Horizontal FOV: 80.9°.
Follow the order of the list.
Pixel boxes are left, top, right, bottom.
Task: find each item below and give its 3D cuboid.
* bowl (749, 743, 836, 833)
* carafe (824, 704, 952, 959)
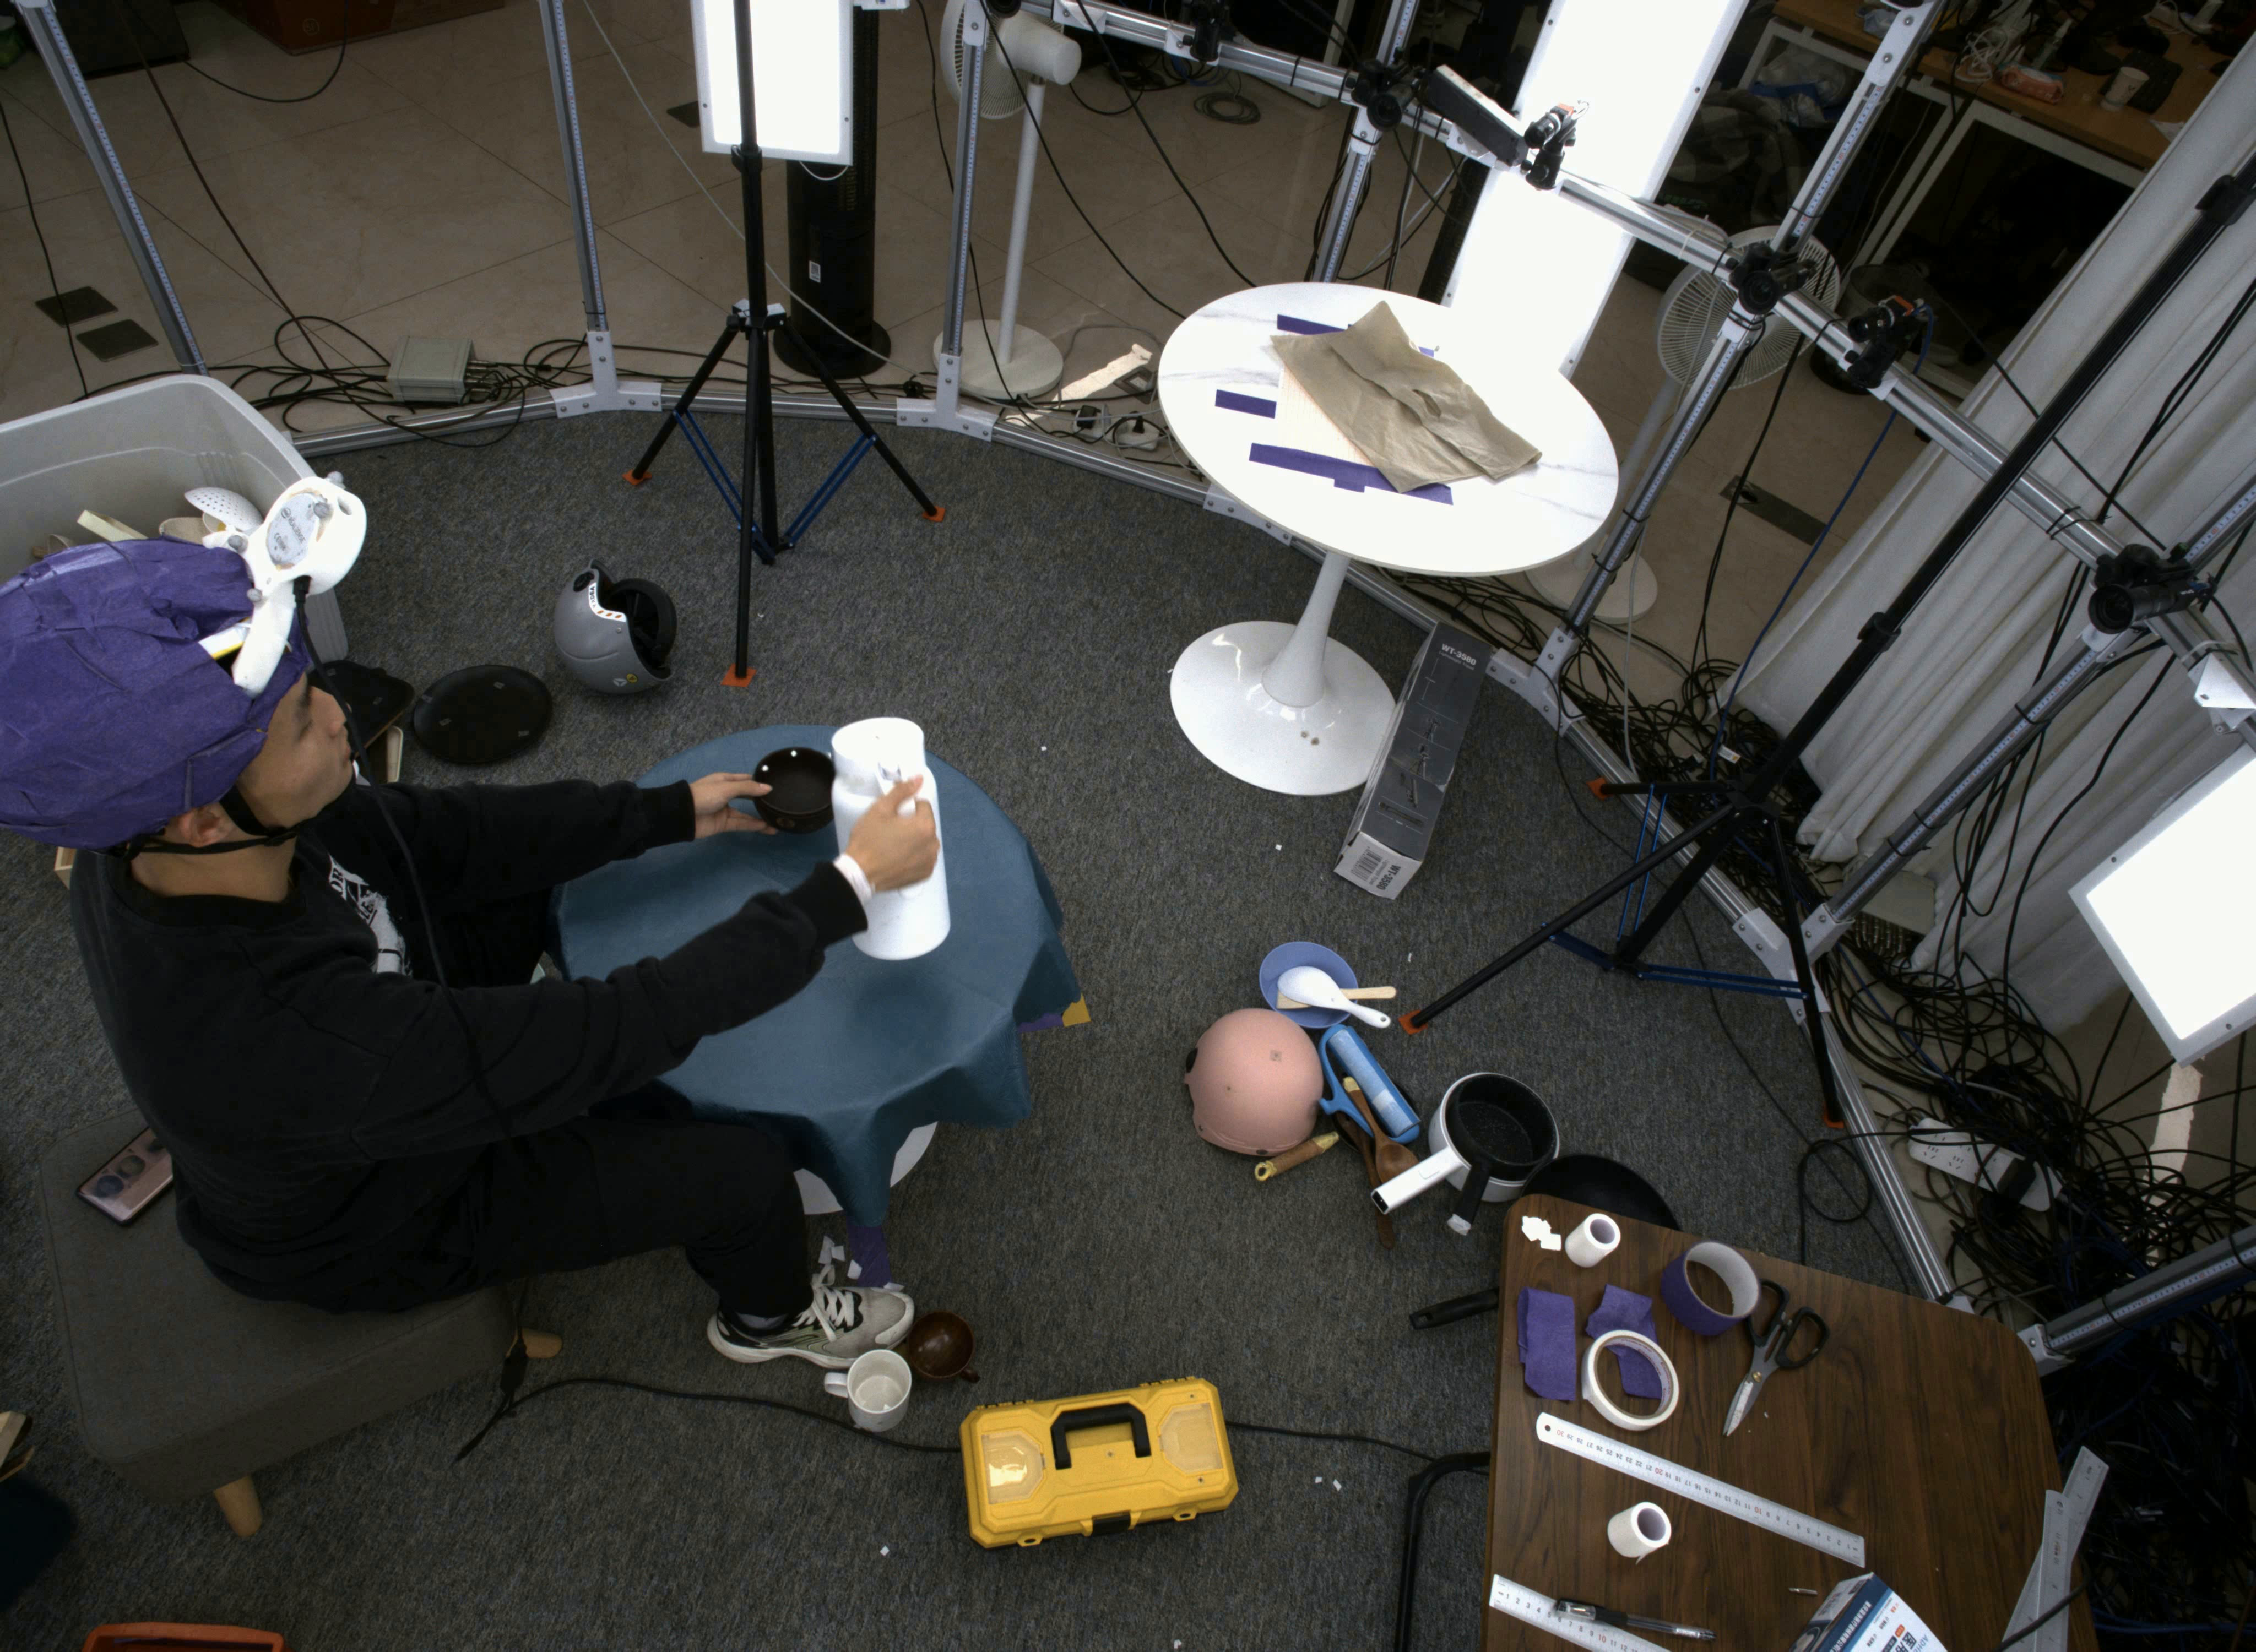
[{"bbox_3d":[-0.428,-0.041,1.670,0.118,0.071,0.116,9,51,-9],"label":"bowl"},{"bbox_3d":[-0.264,0.015,1.455,0.124,0.277,0.166,-13,32,-20],"label":"carafe"}]
